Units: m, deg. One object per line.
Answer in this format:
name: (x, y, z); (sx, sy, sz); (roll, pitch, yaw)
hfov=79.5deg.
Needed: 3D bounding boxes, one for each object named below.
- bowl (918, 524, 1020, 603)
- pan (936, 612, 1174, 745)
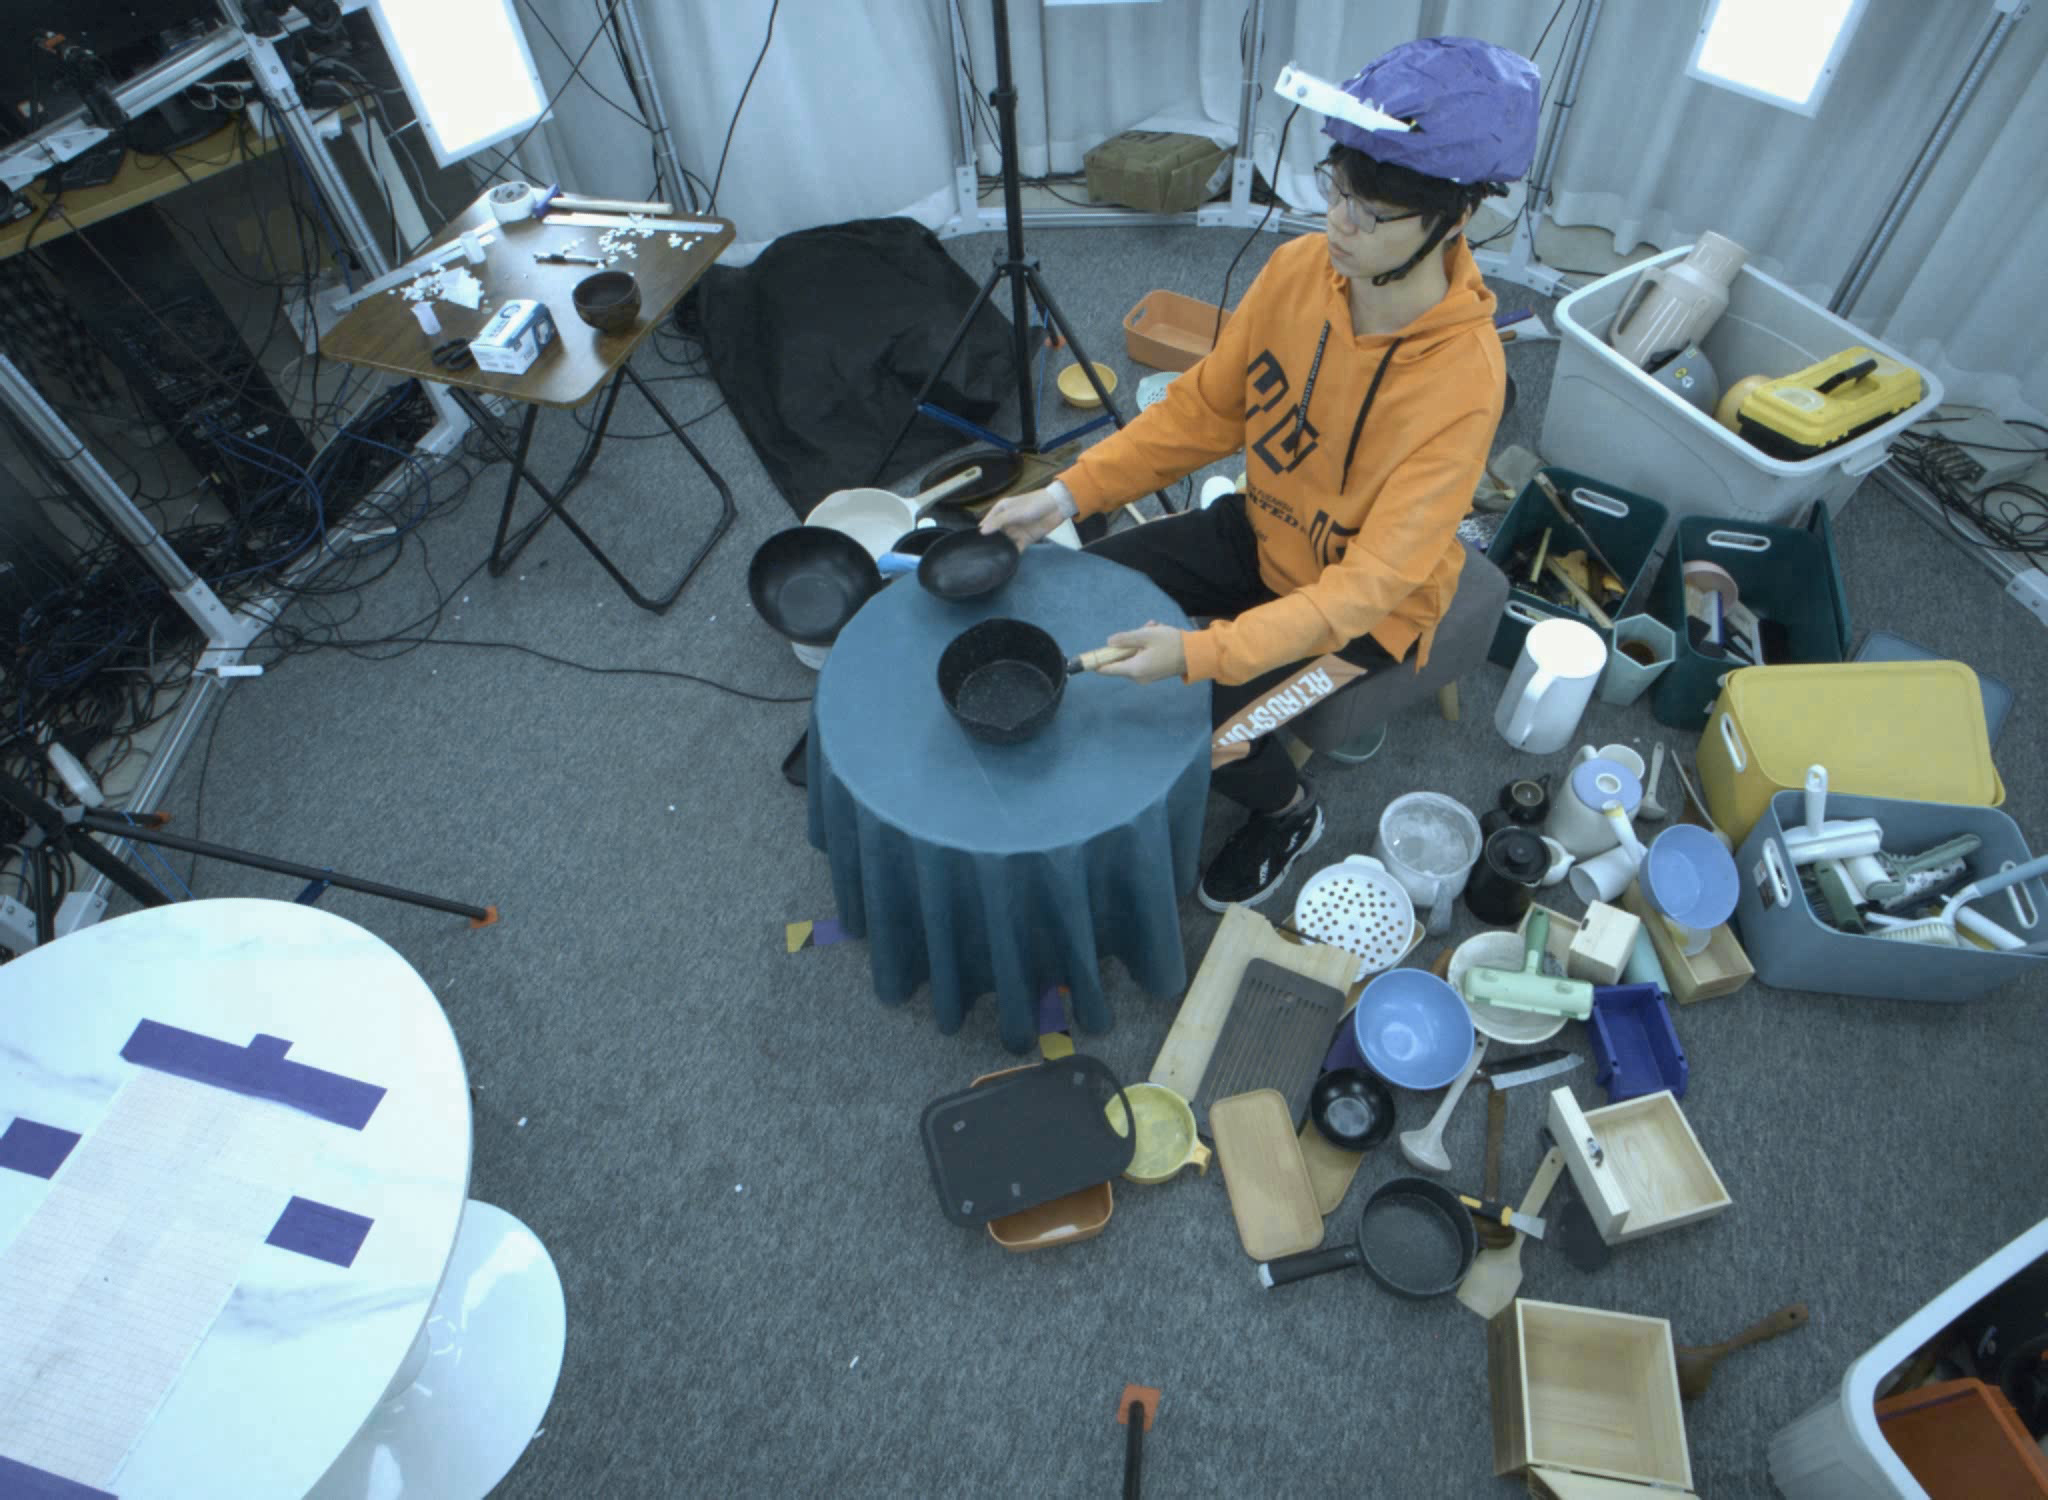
bowl: (-0.084, -0.281, 1.929); (0.169, 0.068, 0.136); (-5, 61, 13)
pan: (0.047, -0.112, 1.775); (0.343, 0.109, 0.204); (-11, 58, -1)
